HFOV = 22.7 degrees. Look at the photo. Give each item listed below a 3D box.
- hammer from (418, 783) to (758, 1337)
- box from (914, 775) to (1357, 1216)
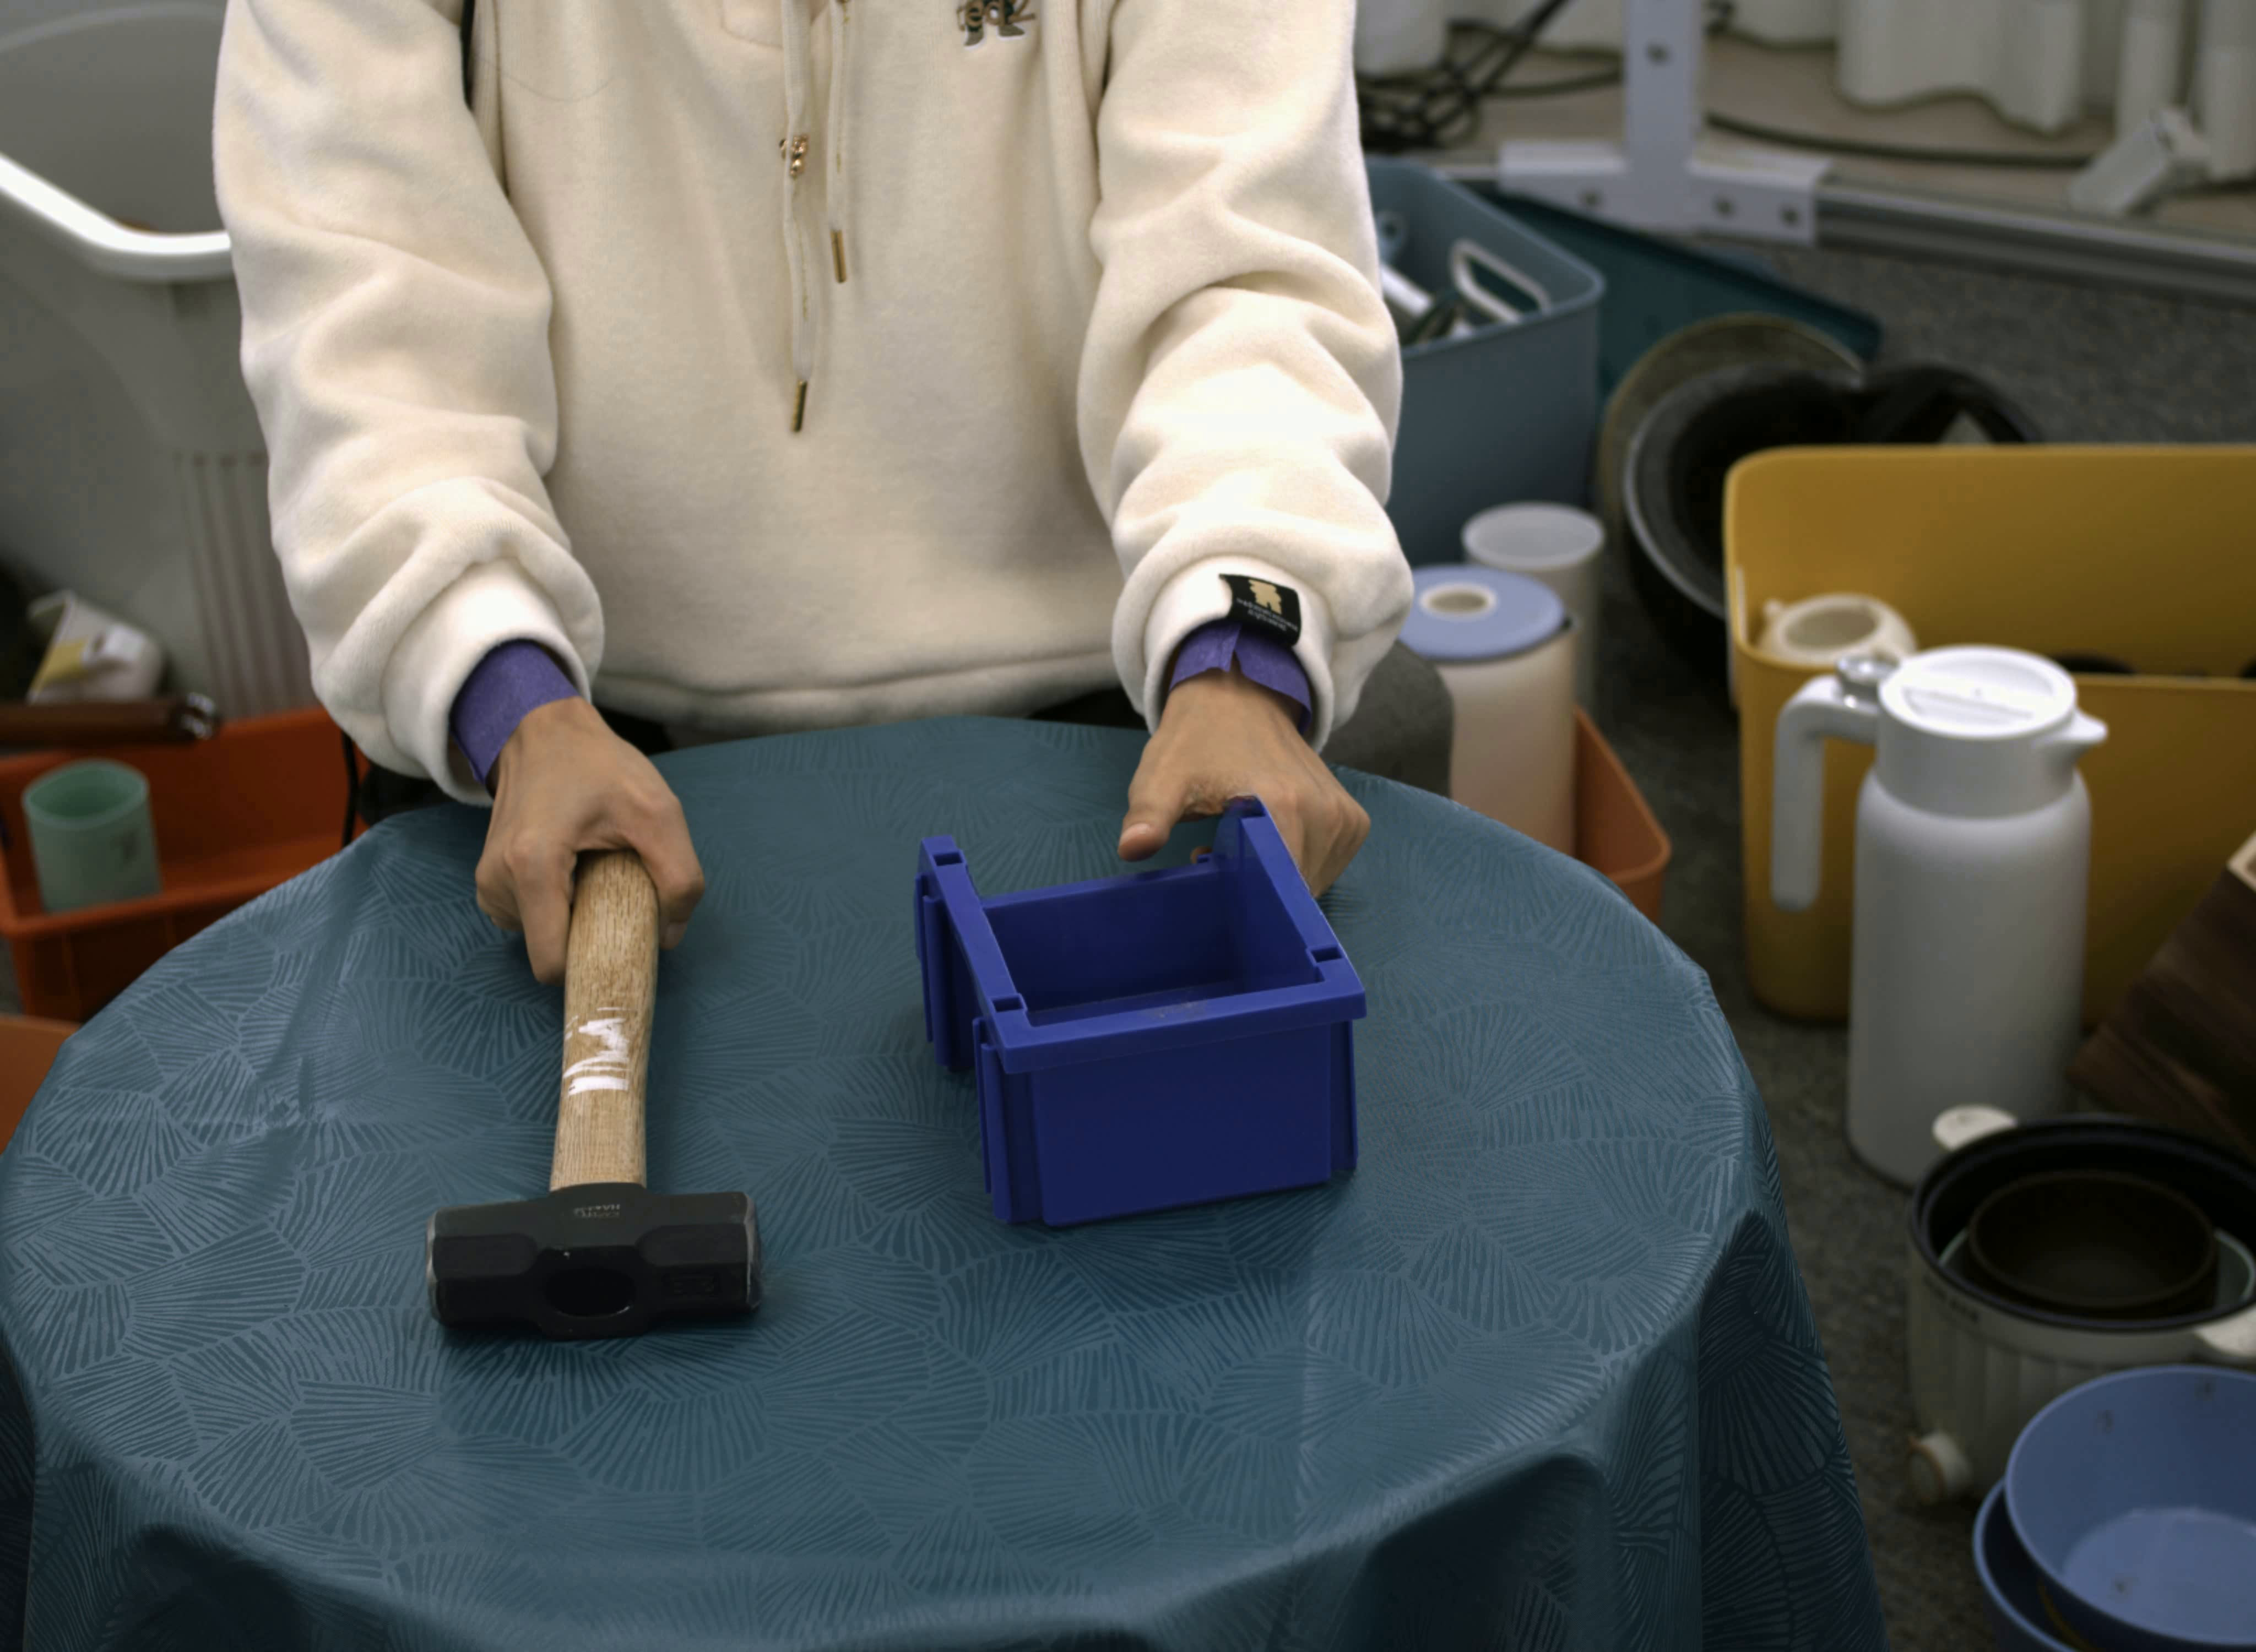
[{"bbox_3d":[-0.174,0.072,1.918,0.107,0.038,0.310,-2,30,1],"label":"hammer"},{"bbox_3d":[-0.002,0.053,1.908,0.124,0.081,0.181,-8,30,-9],"label":"box"}]
